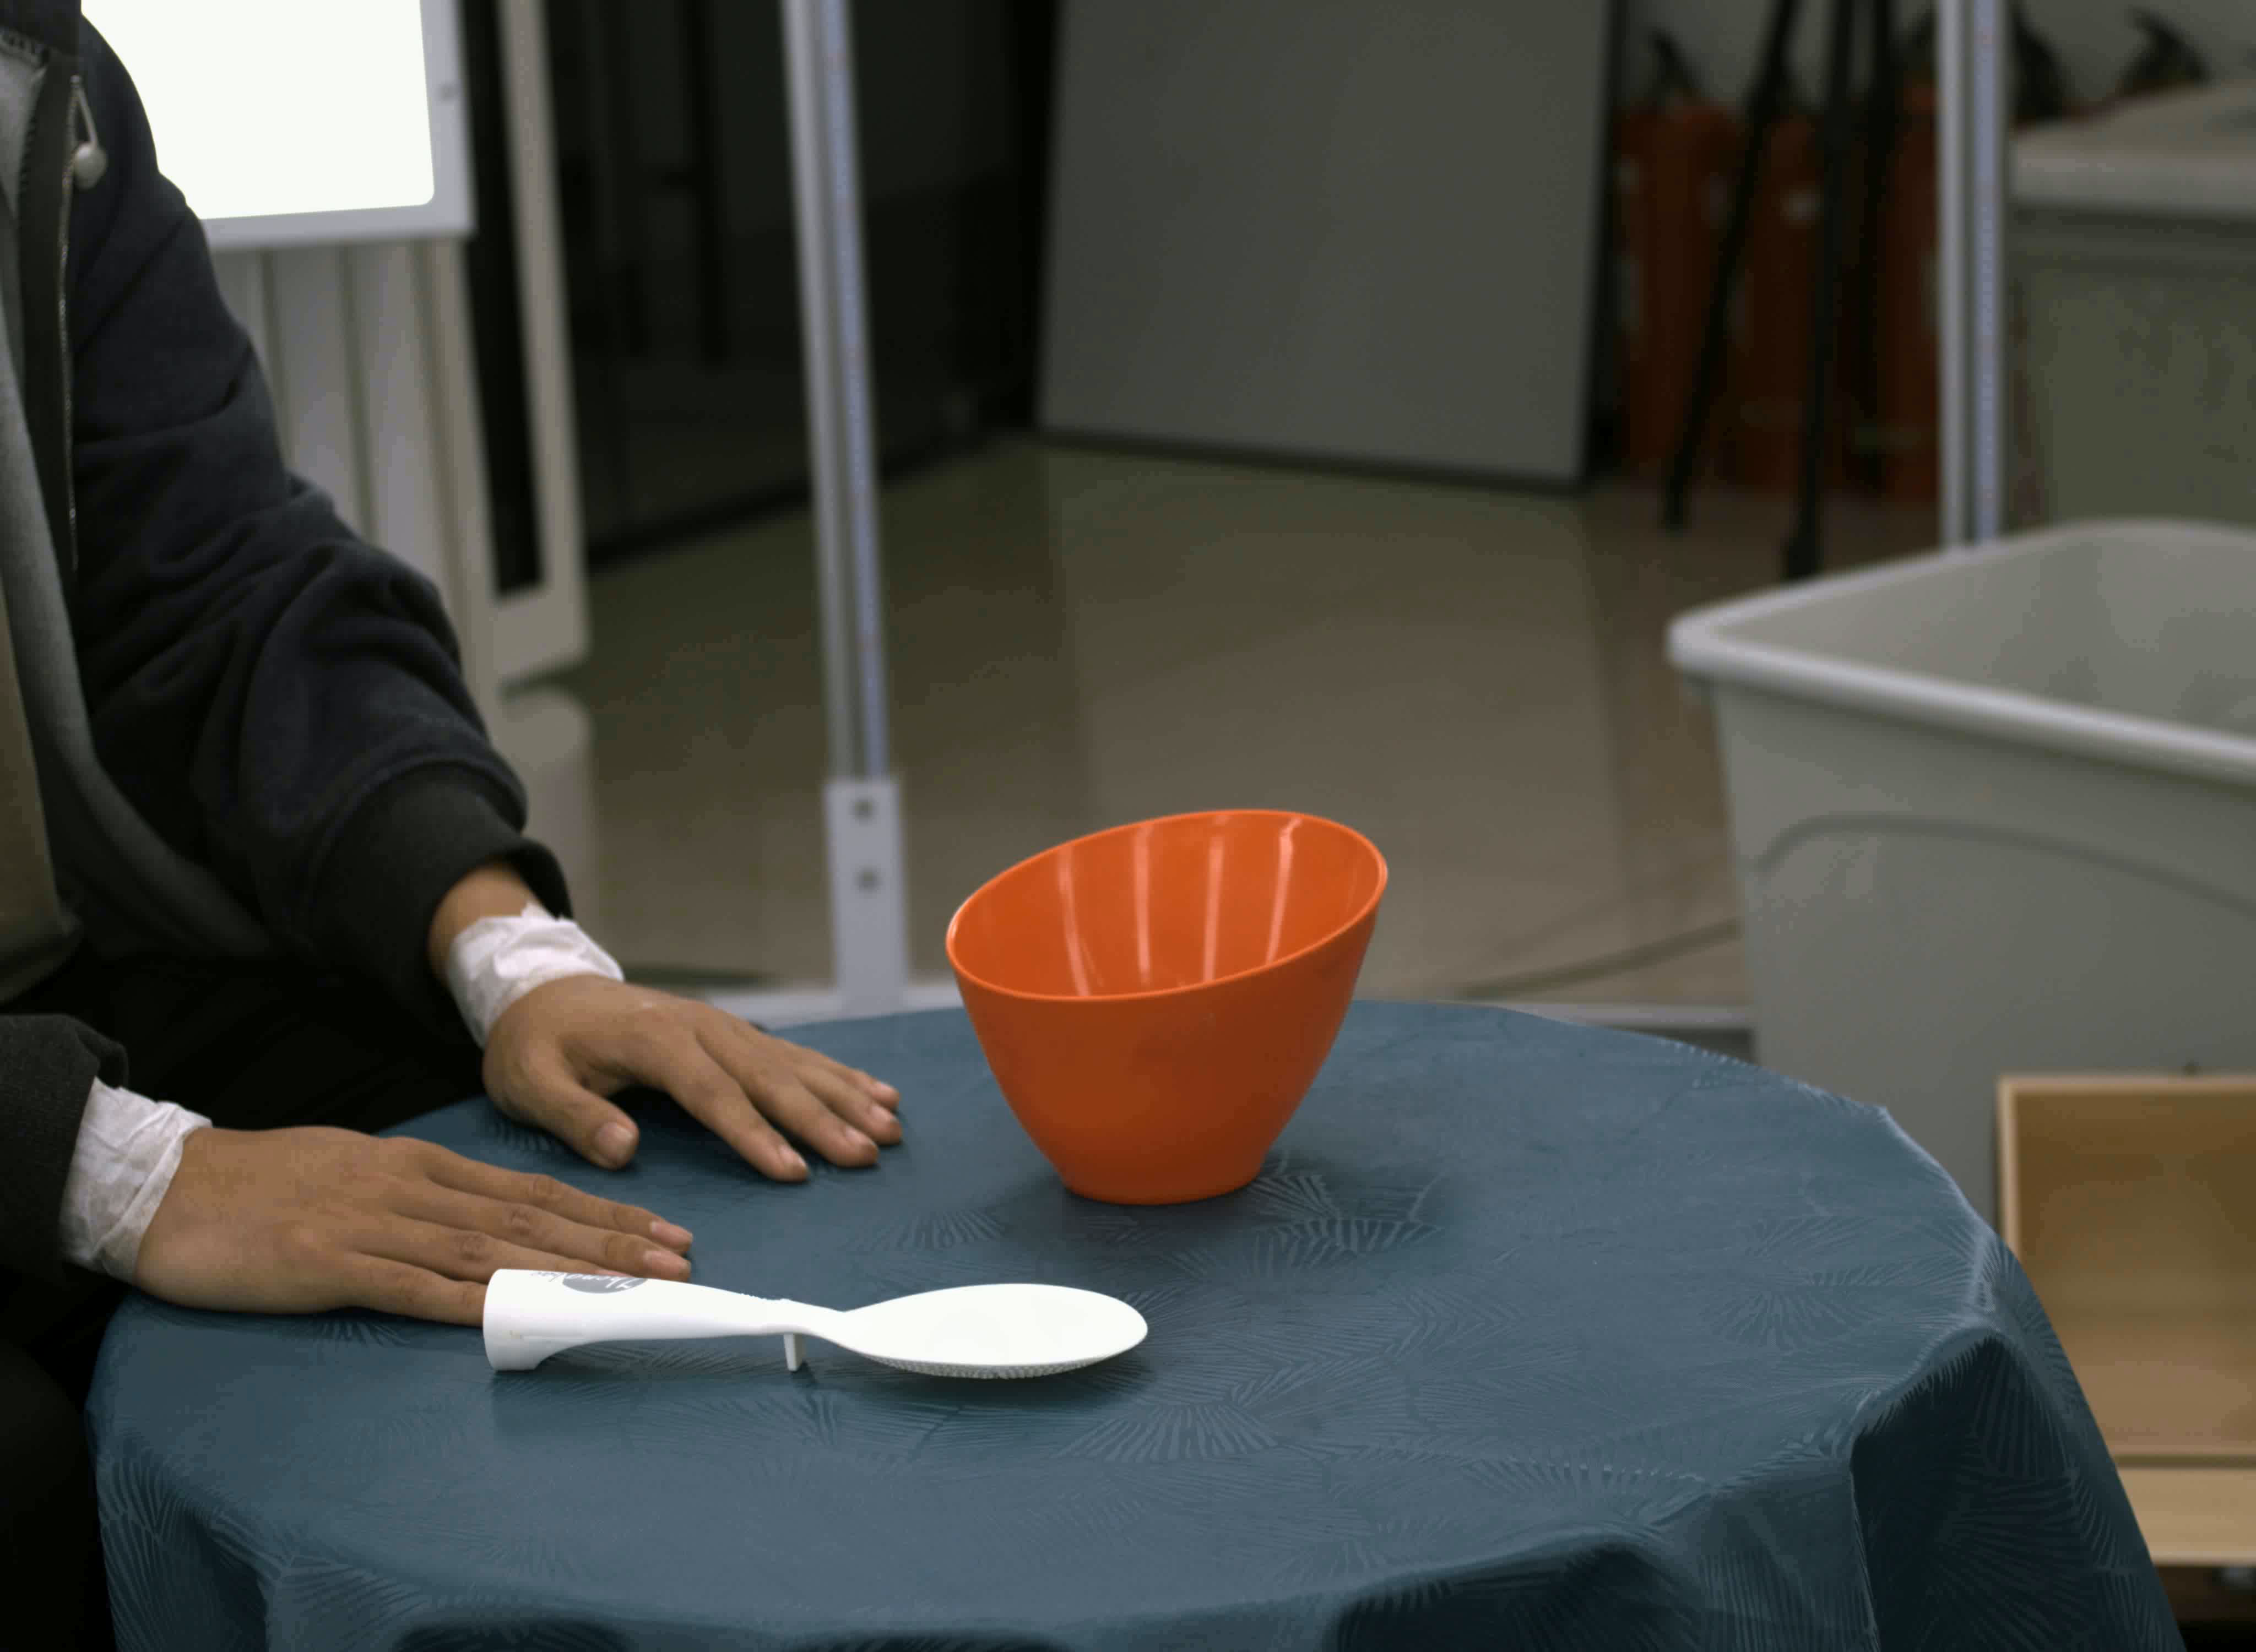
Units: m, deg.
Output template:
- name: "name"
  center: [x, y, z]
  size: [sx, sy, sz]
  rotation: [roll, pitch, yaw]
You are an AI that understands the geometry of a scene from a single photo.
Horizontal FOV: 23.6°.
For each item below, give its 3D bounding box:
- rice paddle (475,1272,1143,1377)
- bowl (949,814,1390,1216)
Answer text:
- name: "rice paddle"
  center: [-0.095, 0.148, 1.620]
  size: [0.204, 0.030, 0.068]
  rotation: [-1, 15, 12]
- name: "bowl"
  center: [0.016, 0.066, 1.779]
  size: [0.146, 0.106, 0.148]
  rotation: [-4, 15, 0]
